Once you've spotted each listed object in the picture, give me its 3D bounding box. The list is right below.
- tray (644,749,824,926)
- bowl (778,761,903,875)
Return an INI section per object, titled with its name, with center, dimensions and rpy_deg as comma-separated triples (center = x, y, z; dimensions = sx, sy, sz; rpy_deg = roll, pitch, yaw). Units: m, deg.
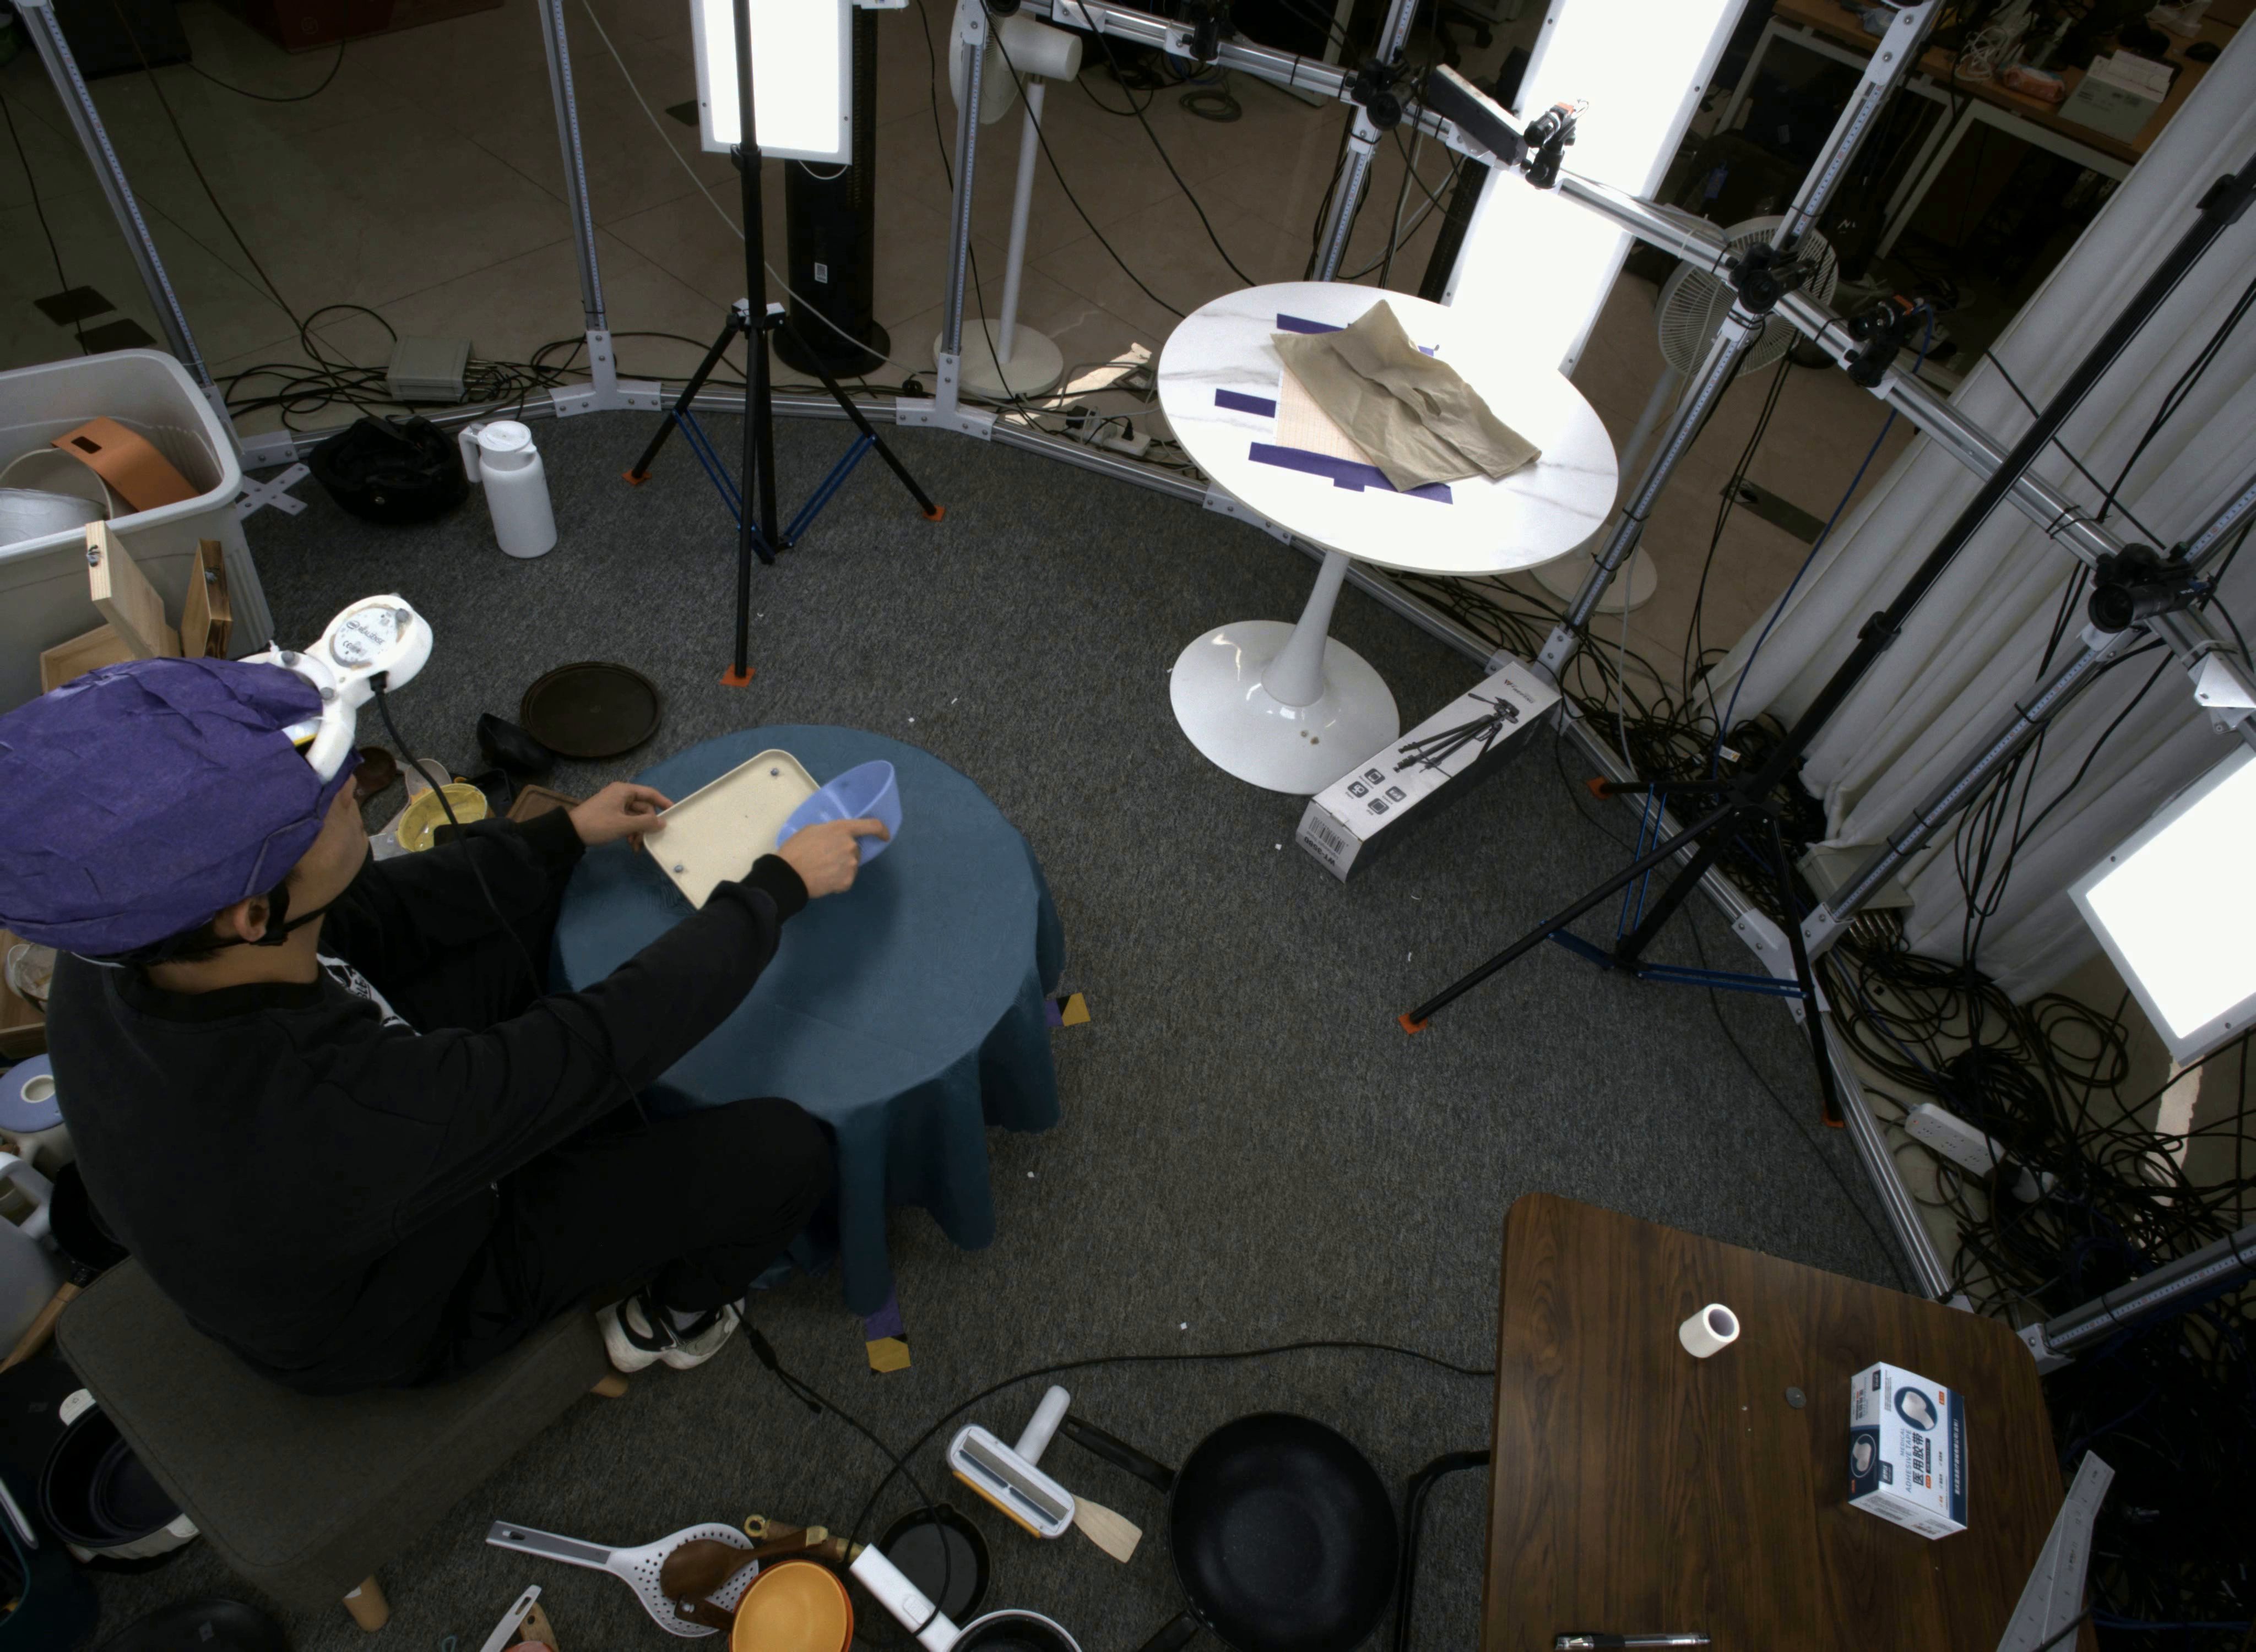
[tray]
center = -0.486, 0.011, 1.661
dimensions = 0.171, 0.017, 0.240
rpy_deg = 49, 52, 2
[bowl]
center = -0.351, -0.002, 1.636
dimensions = 0.173, 0.073, 0.172
rpy_deg = -25, 27, 16
